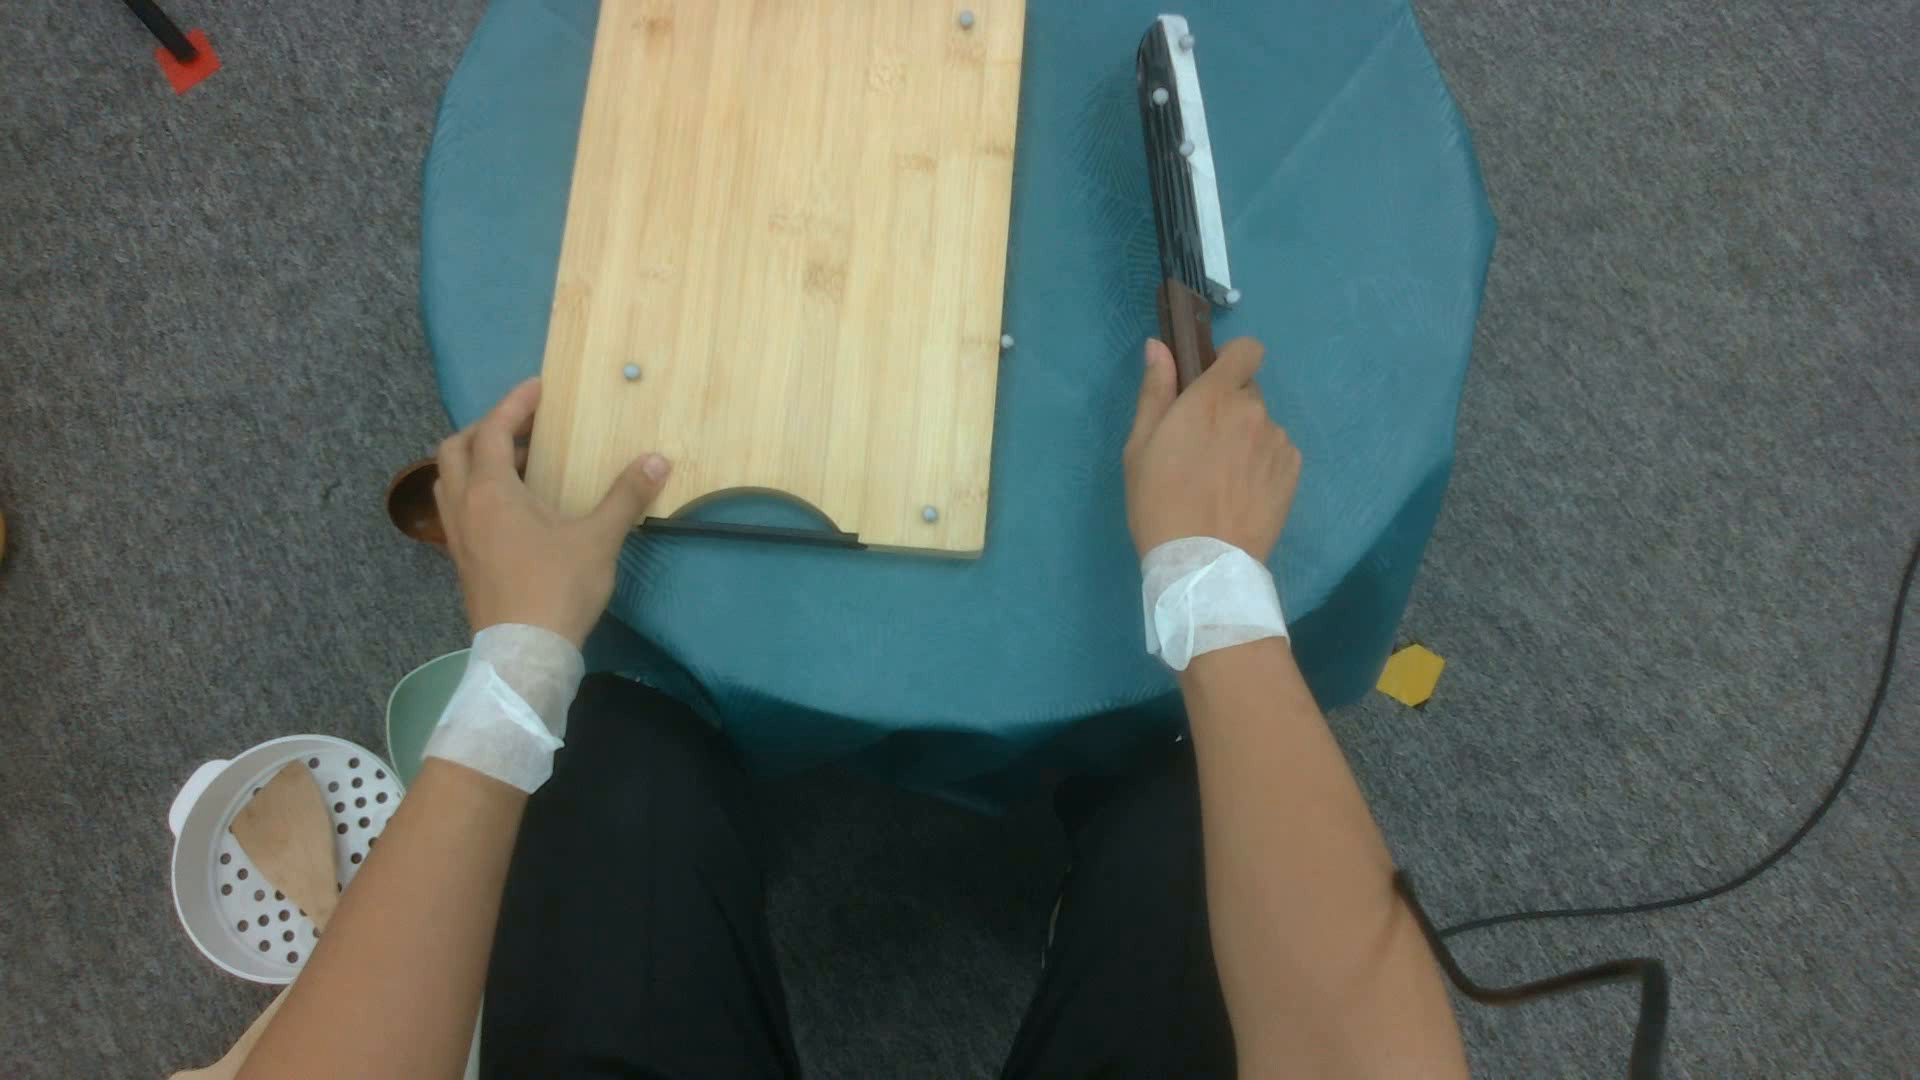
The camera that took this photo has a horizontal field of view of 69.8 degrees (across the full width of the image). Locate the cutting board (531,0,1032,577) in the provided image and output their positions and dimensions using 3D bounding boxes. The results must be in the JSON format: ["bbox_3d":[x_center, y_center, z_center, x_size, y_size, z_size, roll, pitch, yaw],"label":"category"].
[{"bbox_3d":[-0.092,-0.157,0.776,0.251,0.023,0.349,3,75,-1],"label":"cutting board"}]

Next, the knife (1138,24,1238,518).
[{"bbox_3d":[0.129,-0.155,0.754,0.068,0.024,0.300,9,71,-46],"label":"knife"}]
